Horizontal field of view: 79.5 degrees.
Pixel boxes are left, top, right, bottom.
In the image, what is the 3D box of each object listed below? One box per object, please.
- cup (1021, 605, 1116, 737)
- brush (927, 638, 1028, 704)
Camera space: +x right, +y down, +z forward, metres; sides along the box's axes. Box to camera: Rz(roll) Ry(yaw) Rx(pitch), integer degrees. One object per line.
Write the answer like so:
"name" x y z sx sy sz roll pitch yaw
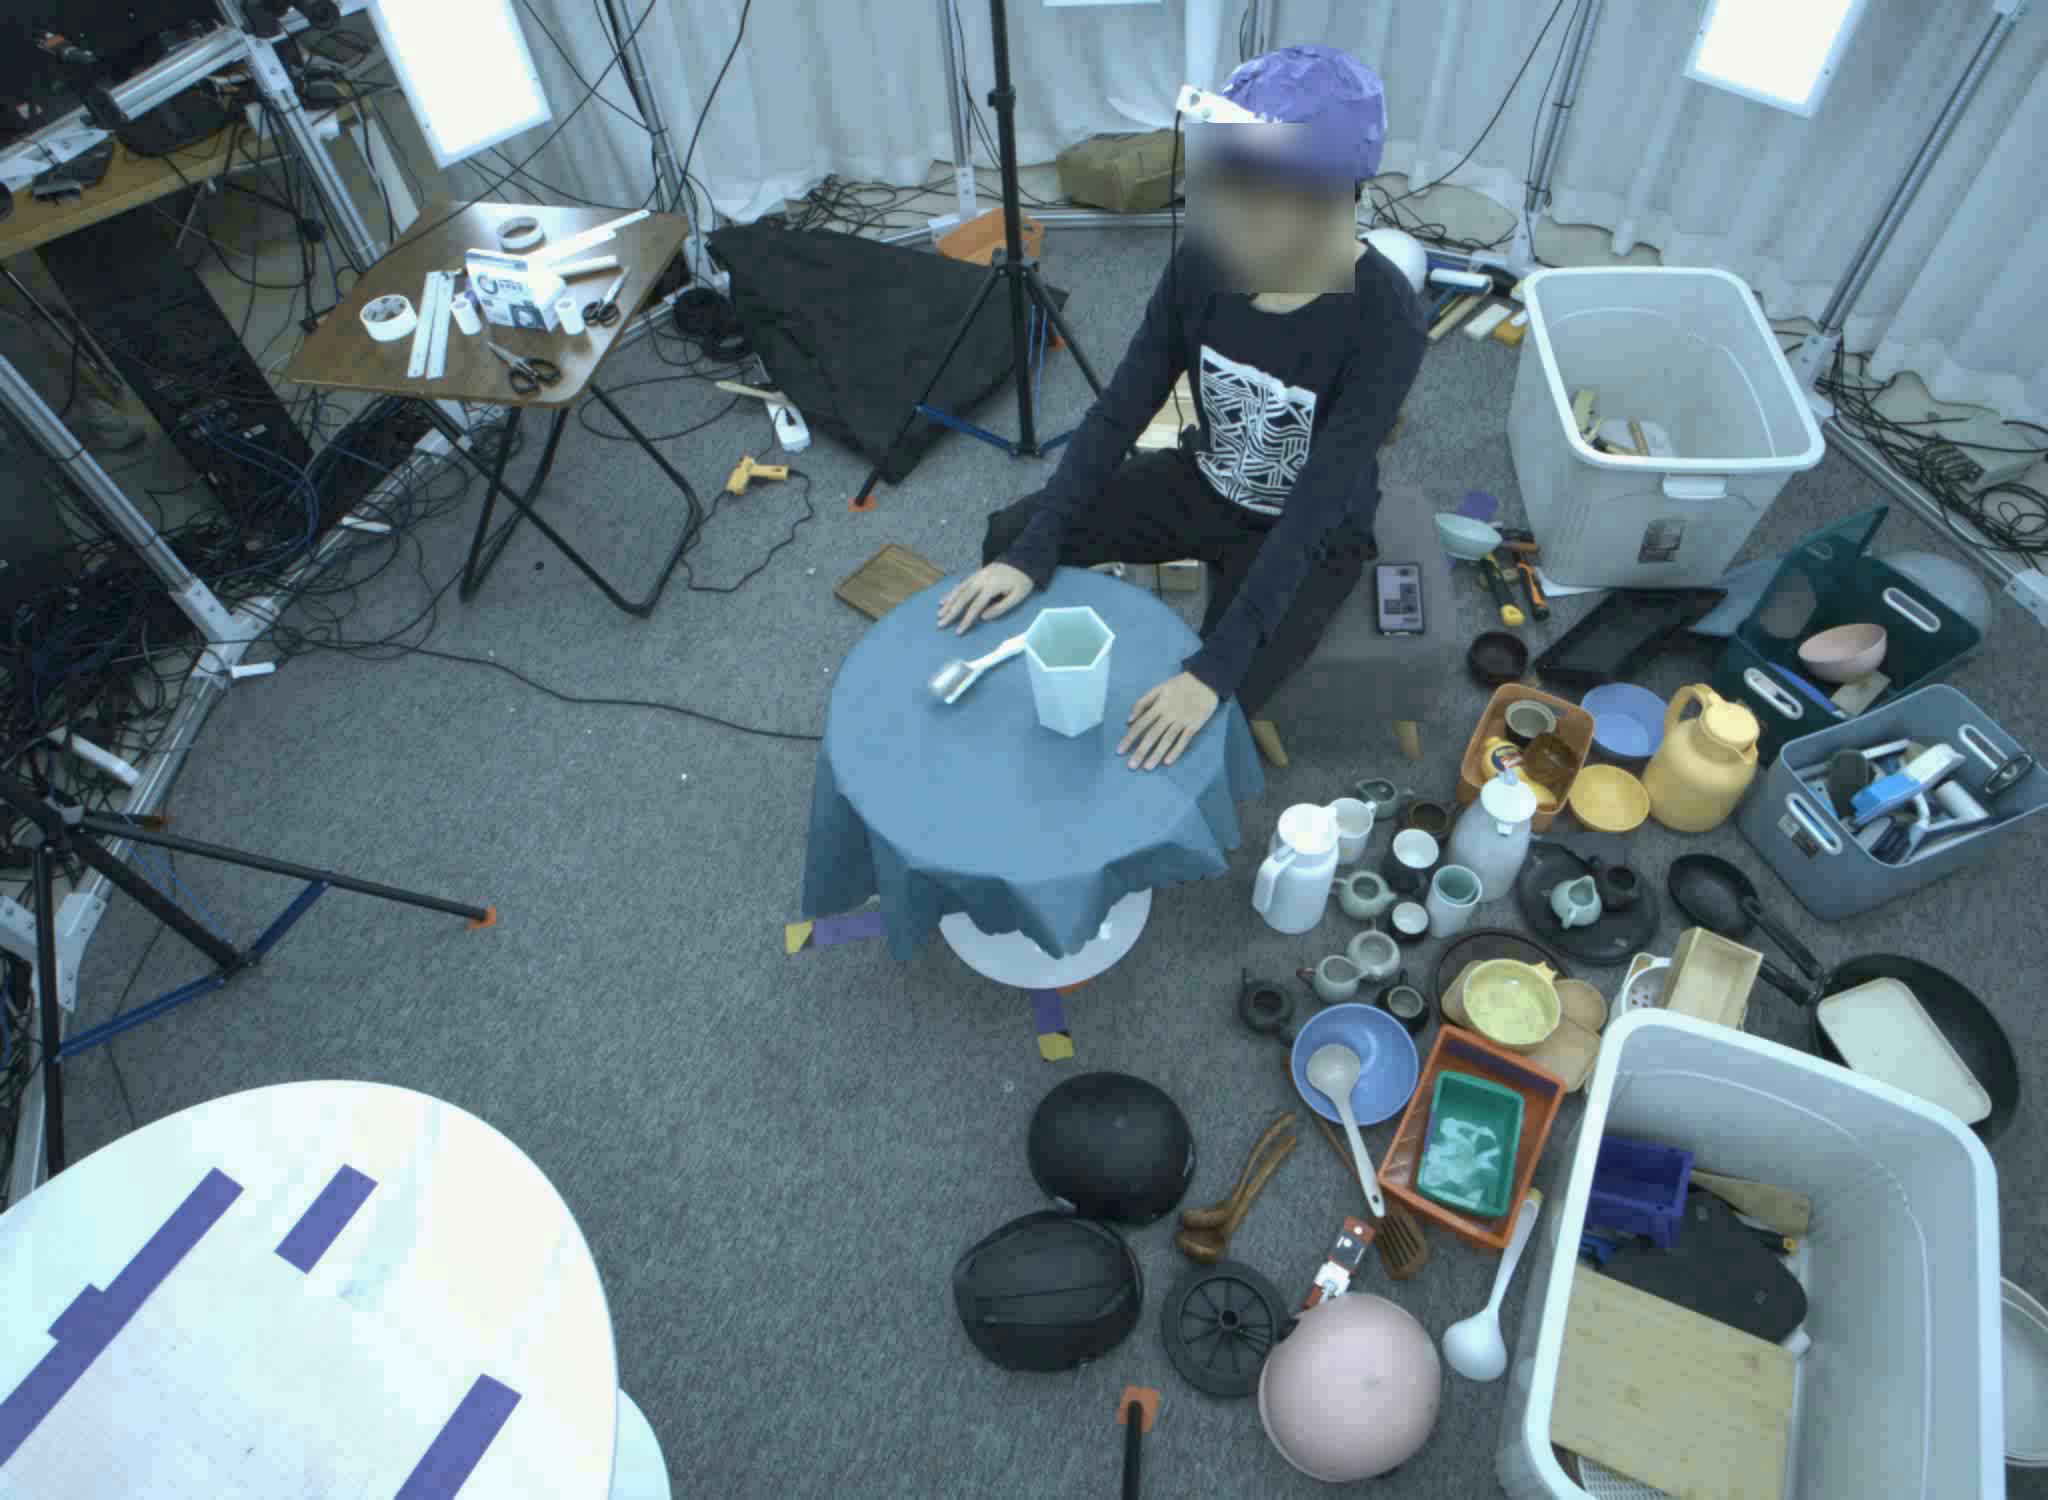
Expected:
"cup" 0.066 -0.107 1.753 0.131 0.165 0.114 -4 53 0
"brush" -0.041 -0.147 1.858 0.245 0.051 0.033 -33 55 -20
